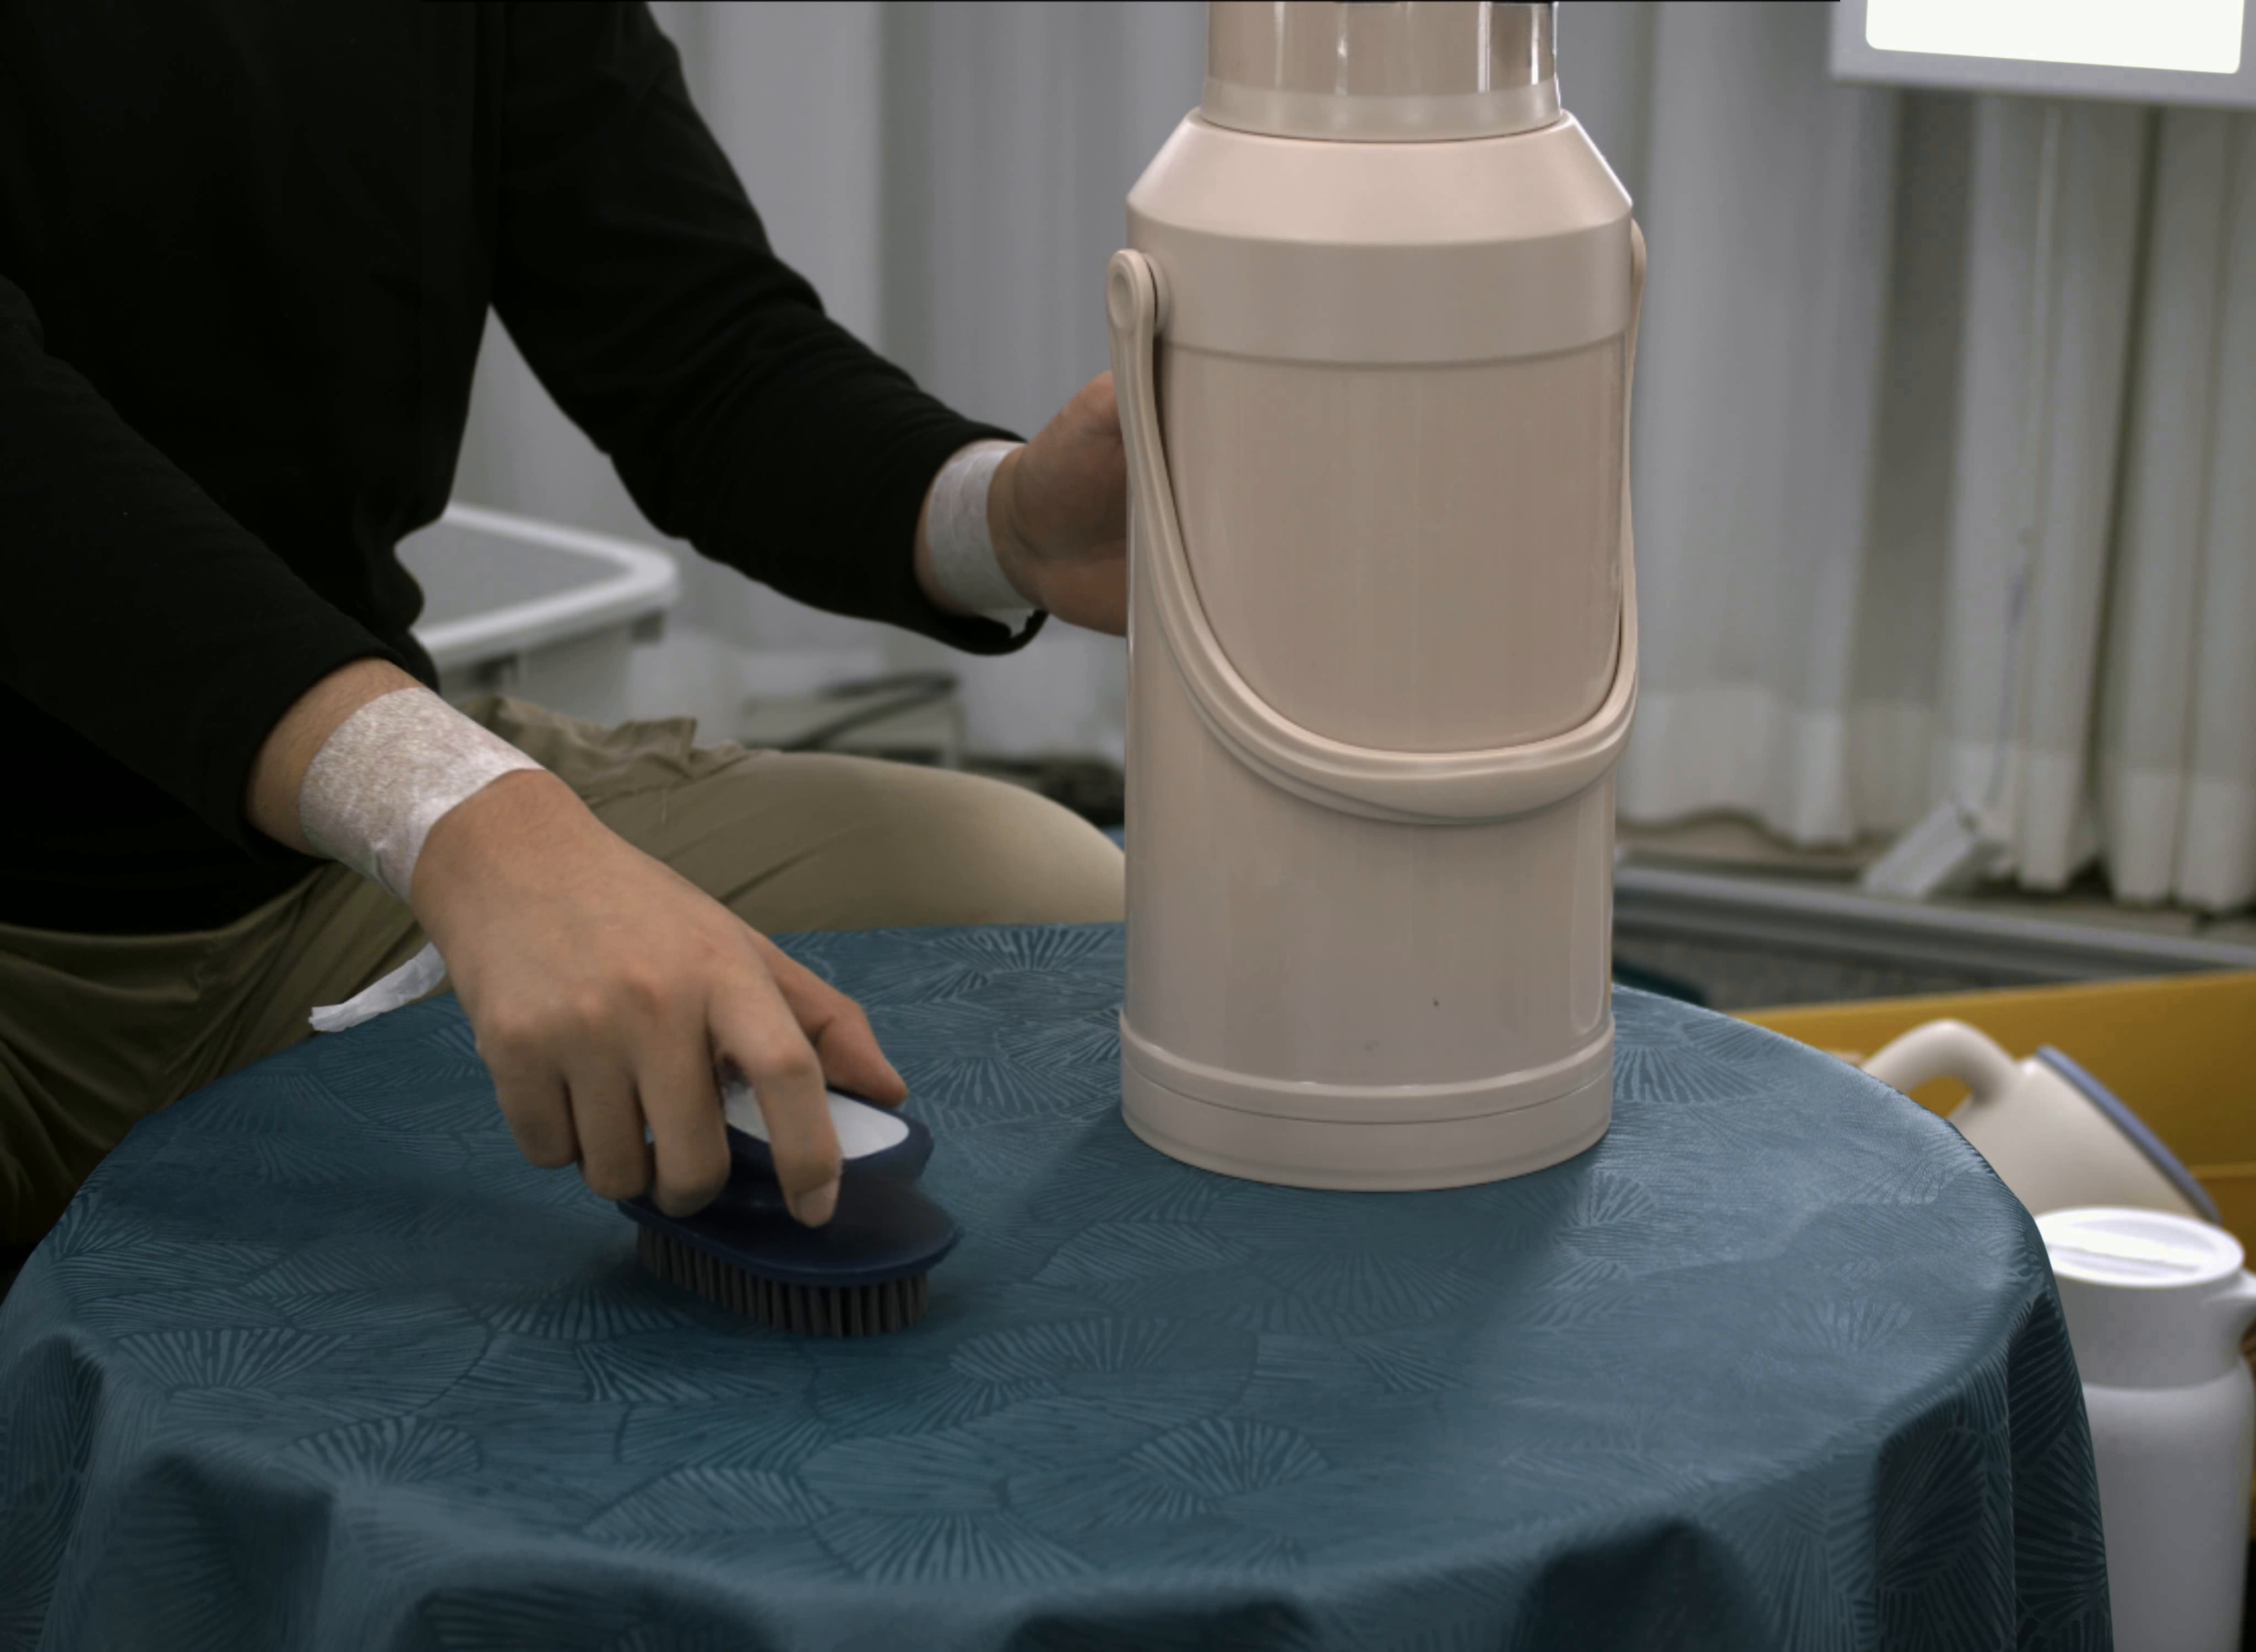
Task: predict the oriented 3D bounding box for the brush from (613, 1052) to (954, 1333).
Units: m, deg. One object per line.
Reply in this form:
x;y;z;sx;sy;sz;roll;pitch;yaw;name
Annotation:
-0.101;0.108;1.530;0.068;0.061;0.120;-9;19;-39;brush

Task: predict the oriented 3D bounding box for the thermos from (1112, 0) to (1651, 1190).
0.074;-0.103;1.655;0.176;0.410;0.204;-9;19;-24;thermos
